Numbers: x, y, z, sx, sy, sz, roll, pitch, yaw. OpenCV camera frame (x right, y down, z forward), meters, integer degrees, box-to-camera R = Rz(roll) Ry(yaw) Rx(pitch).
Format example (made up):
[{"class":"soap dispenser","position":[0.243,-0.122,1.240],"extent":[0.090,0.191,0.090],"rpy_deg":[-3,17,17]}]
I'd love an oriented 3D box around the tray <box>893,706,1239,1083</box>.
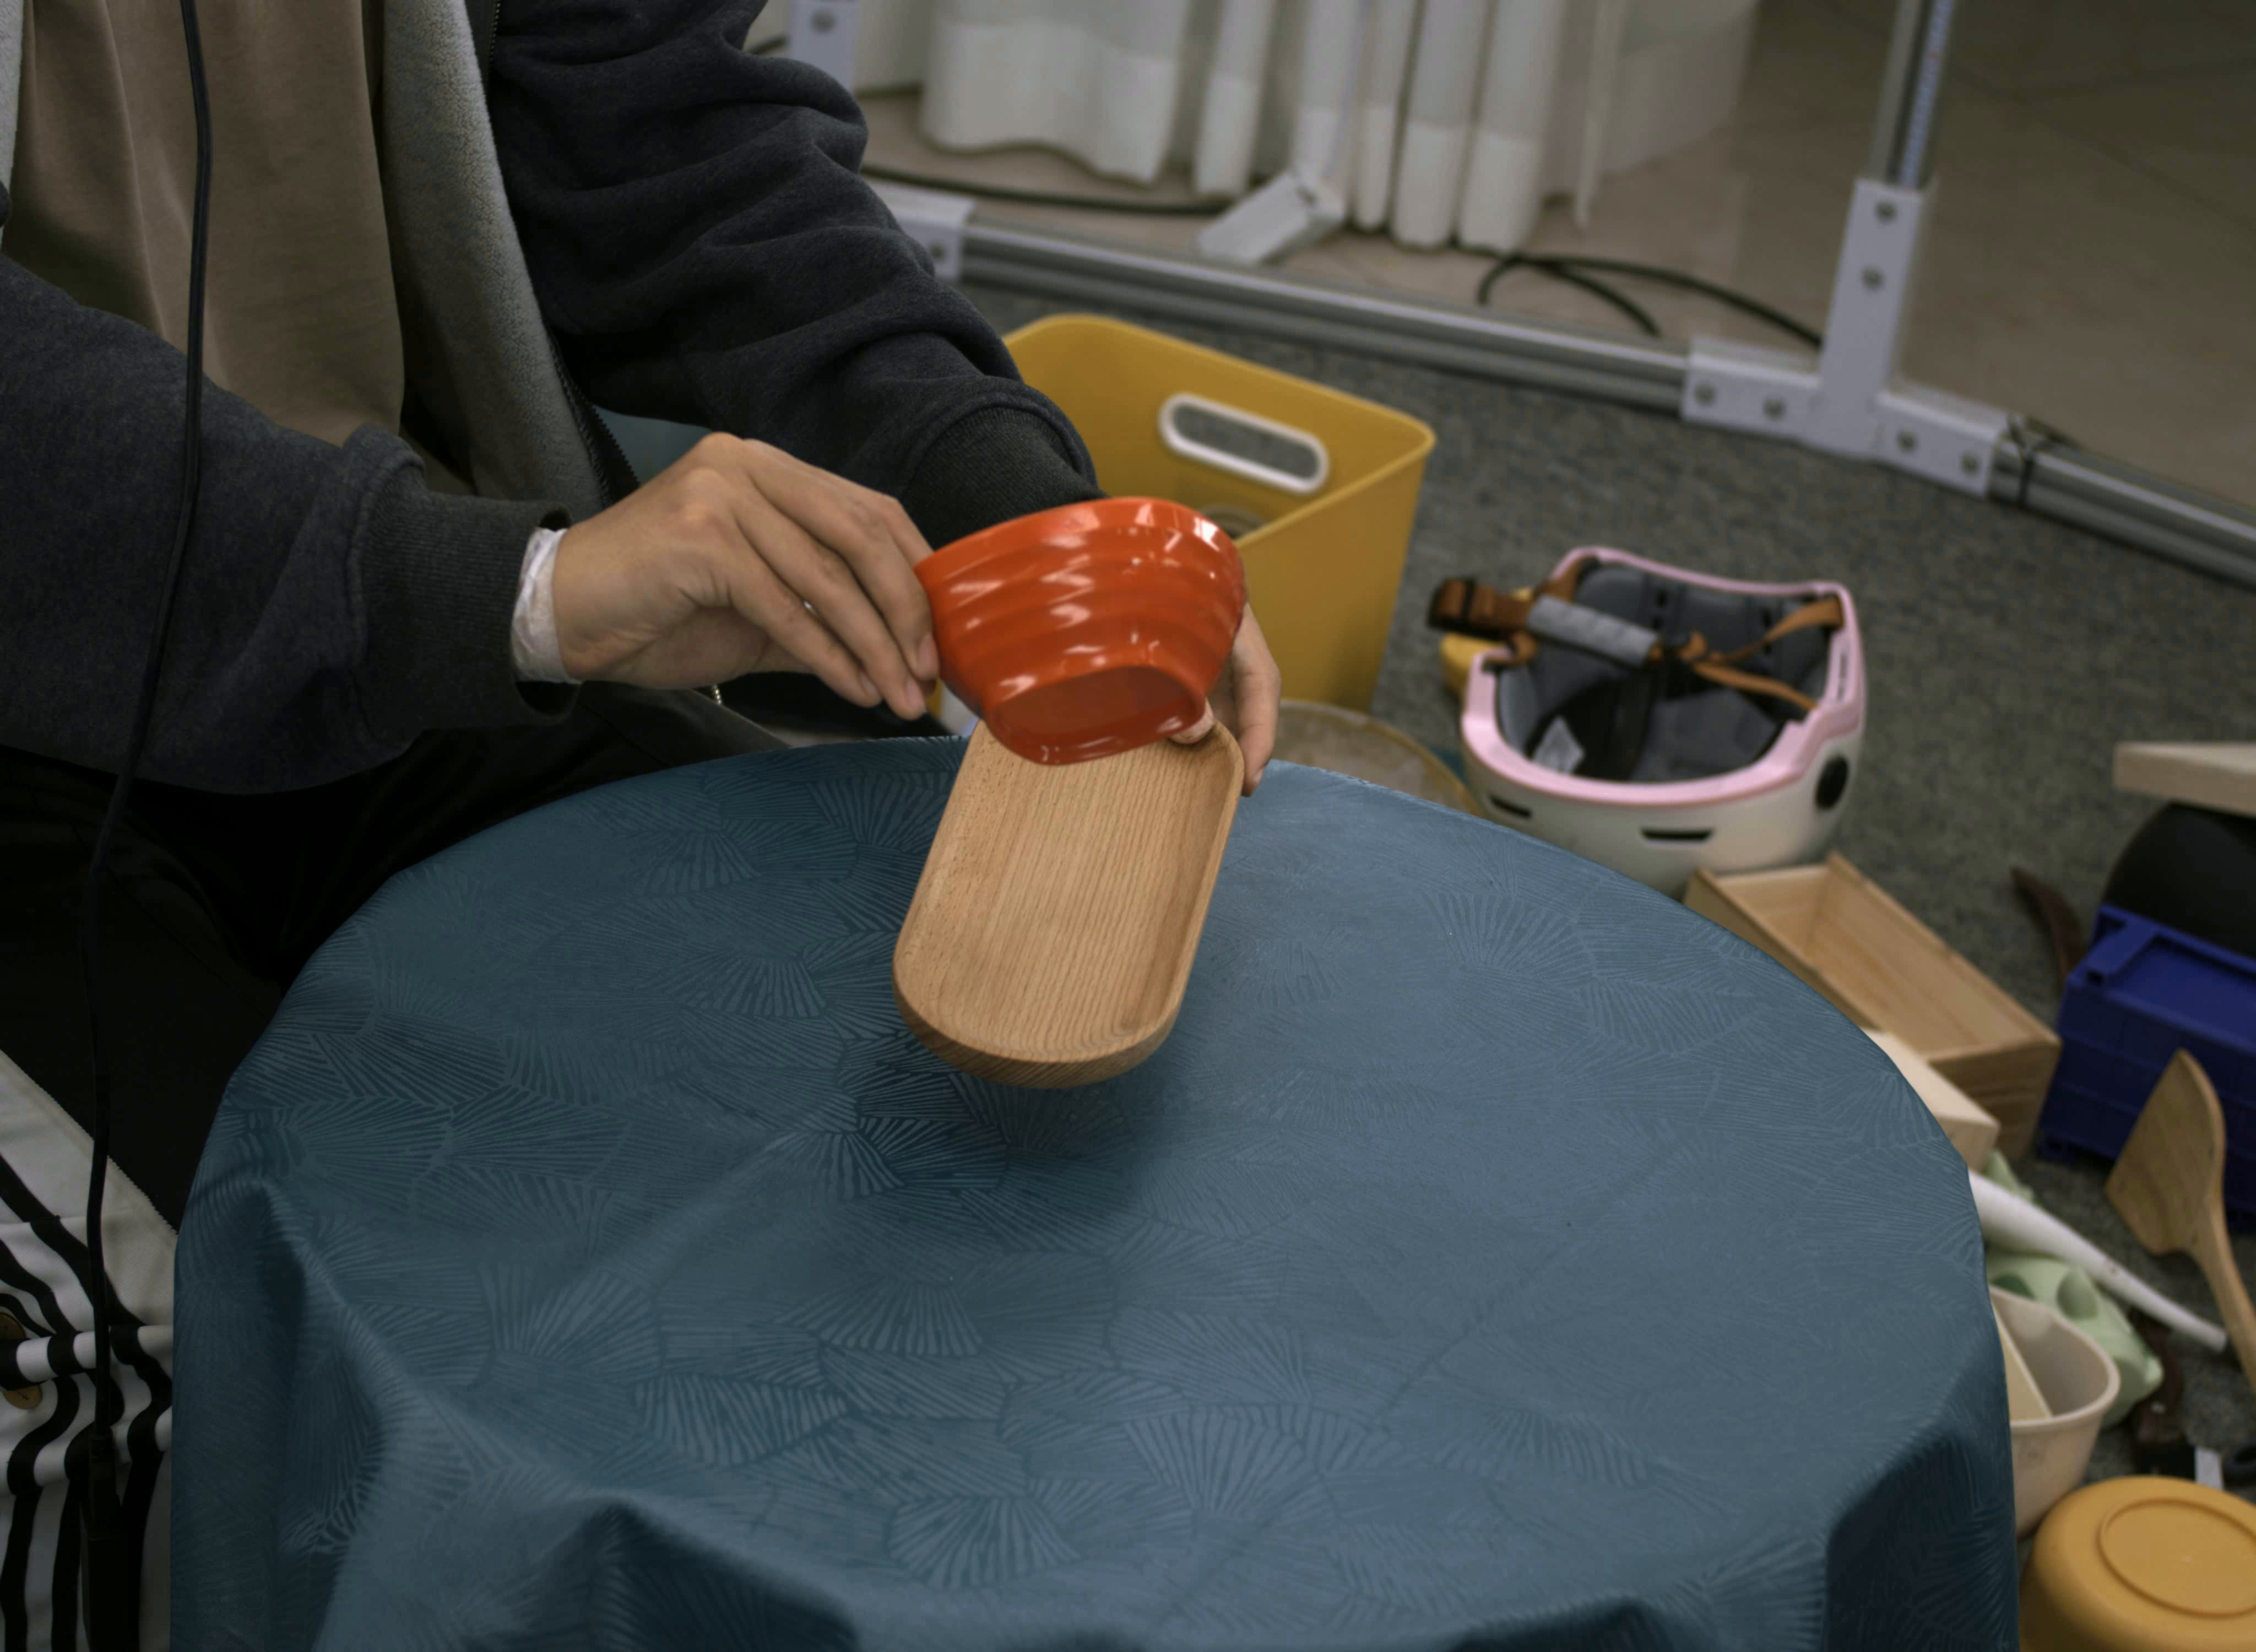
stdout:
[{"class":"tray","position":[-0.021,0.016,1.877],"extent":[0.101,0.020,0.232],"rpy_deg":[10,35,4]}]

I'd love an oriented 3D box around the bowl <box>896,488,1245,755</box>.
[{"class":"bowl","position":[-0.015,-0.061,1.729],"extent":[0.118,0.118,0.052],"rpy_deg":[-2,67,-17]}]
